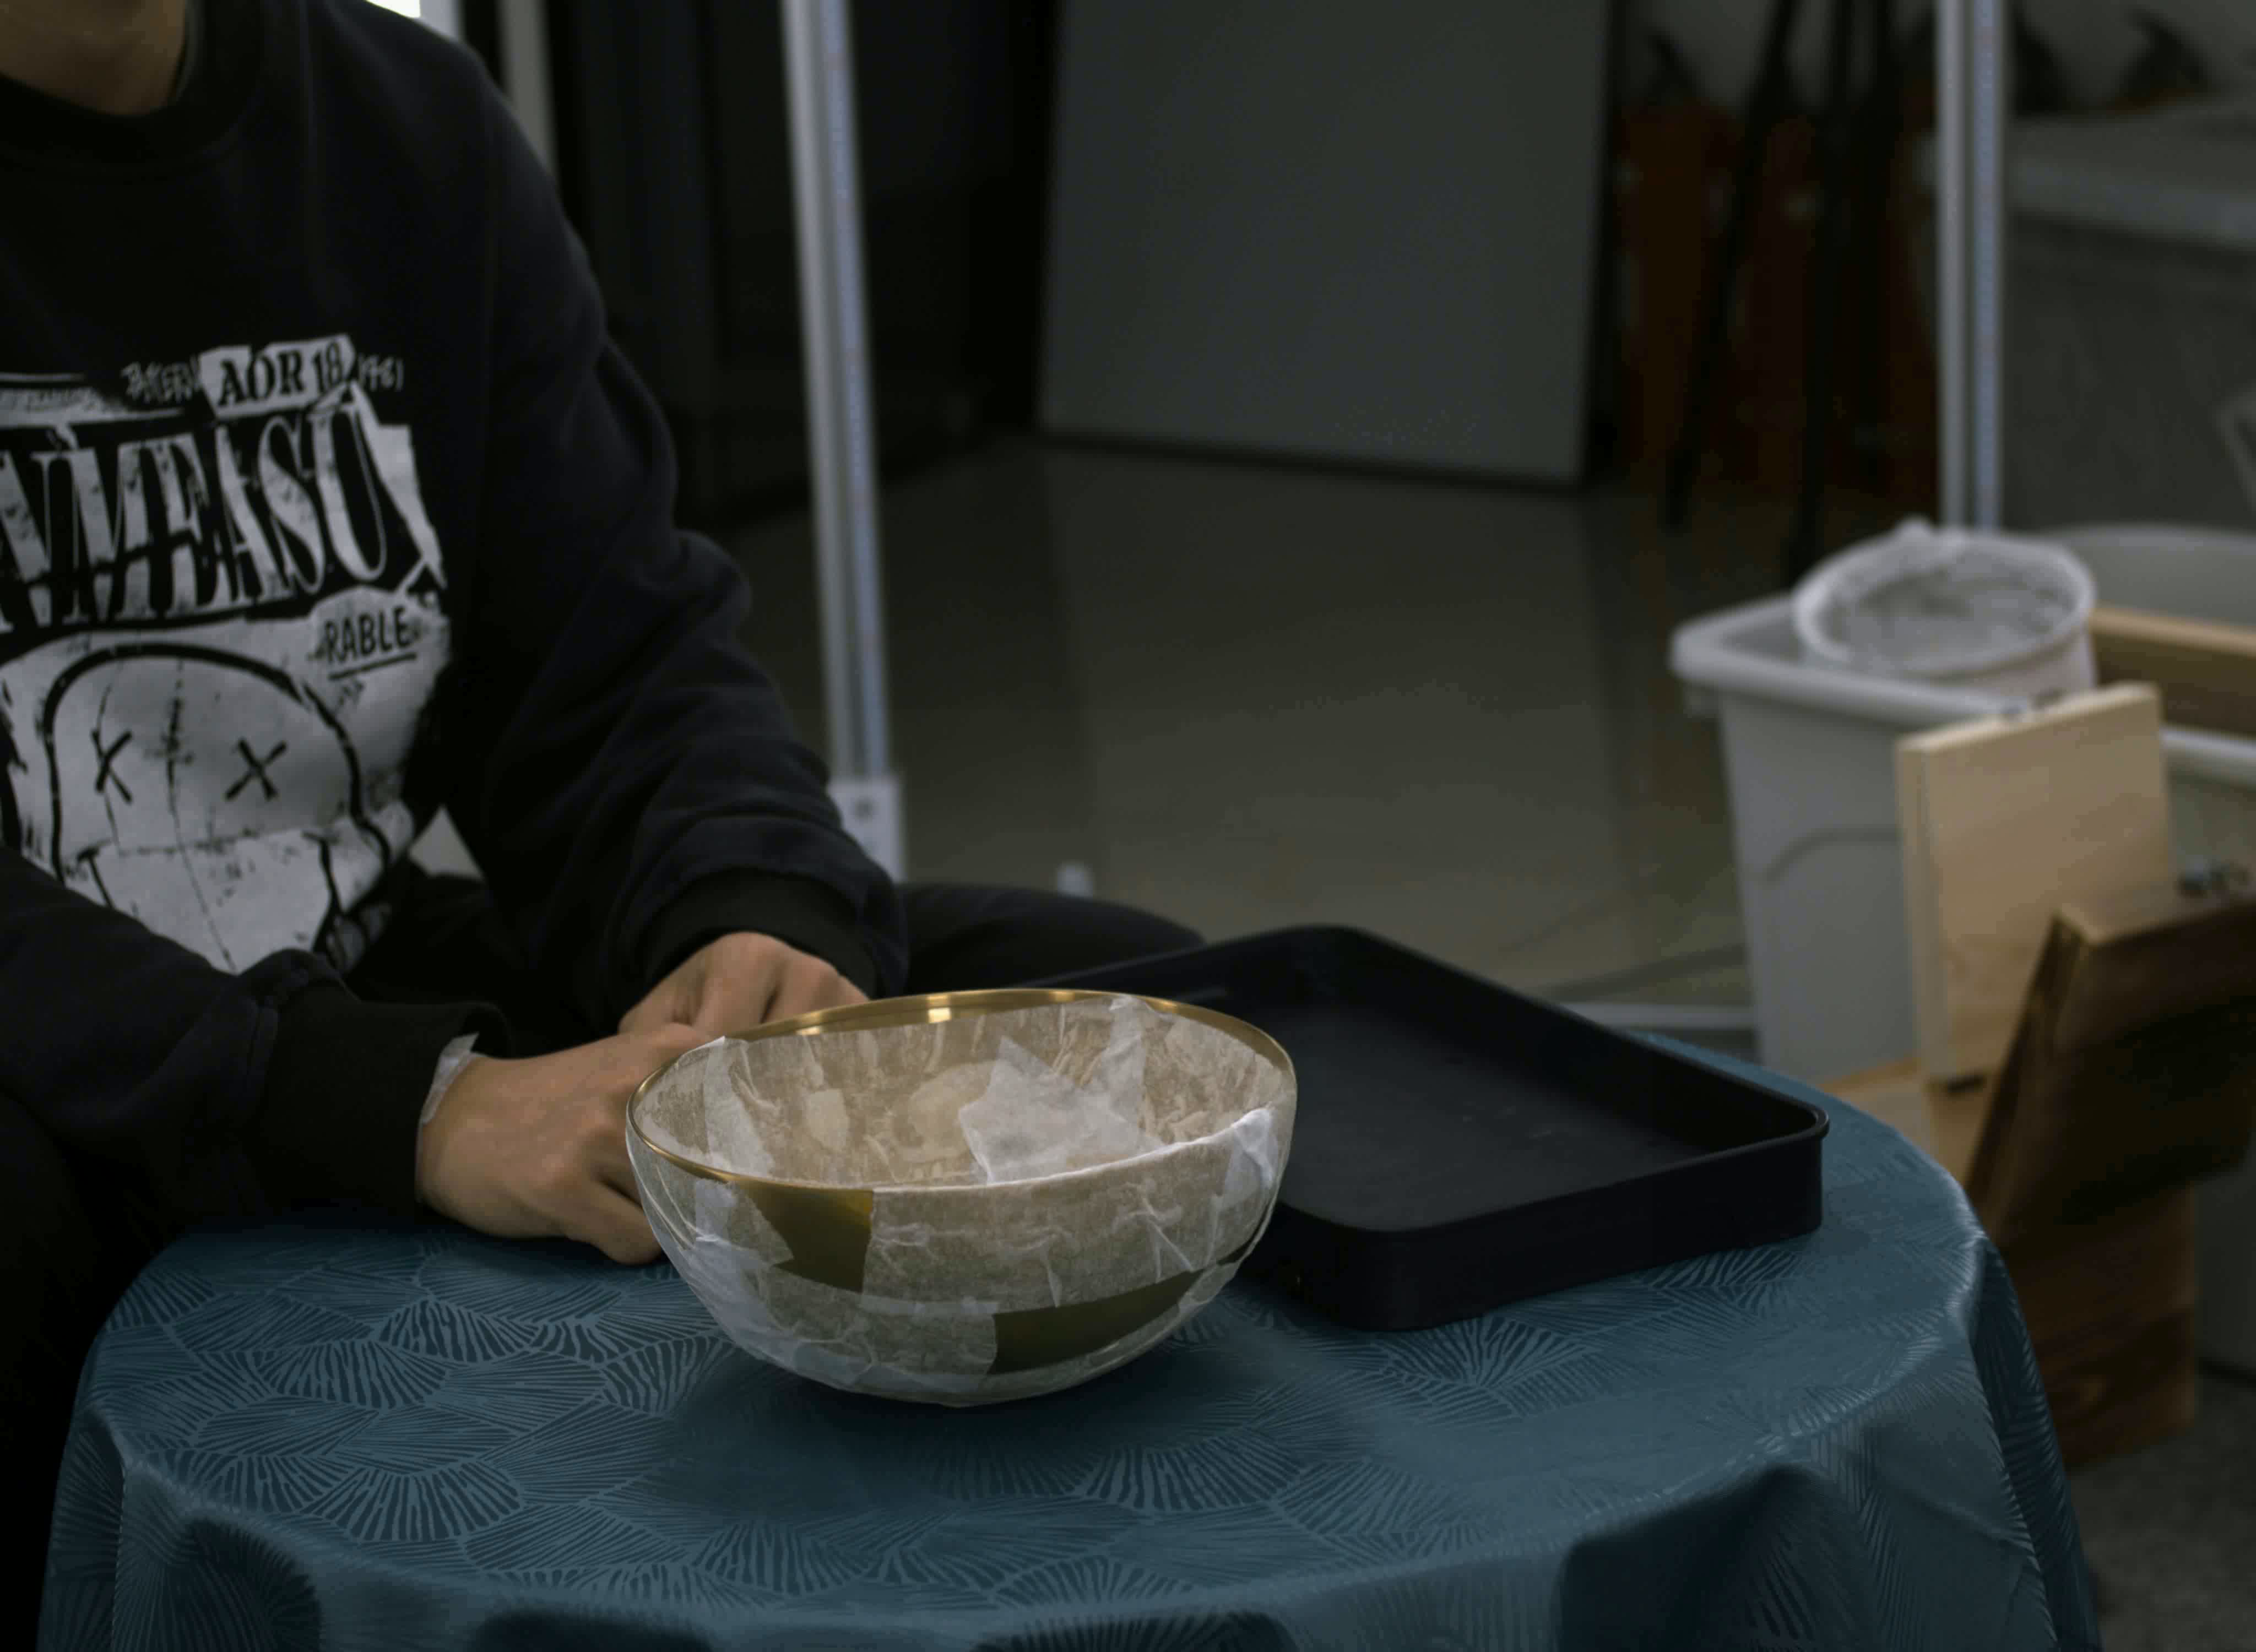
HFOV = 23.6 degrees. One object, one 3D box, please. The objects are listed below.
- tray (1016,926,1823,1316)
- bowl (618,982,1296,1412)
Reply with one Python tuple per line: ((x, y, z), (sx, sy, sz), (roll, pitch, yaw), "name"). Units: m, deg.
((0.075, 0.092, 1.779), (0.180, 0.037, 0.321), (-13, 14, -25), "tray")
((-0.047, 0.117, 1.609), (0.212, 0.095, 0.215), (-5, 14, 0), "bowl")
